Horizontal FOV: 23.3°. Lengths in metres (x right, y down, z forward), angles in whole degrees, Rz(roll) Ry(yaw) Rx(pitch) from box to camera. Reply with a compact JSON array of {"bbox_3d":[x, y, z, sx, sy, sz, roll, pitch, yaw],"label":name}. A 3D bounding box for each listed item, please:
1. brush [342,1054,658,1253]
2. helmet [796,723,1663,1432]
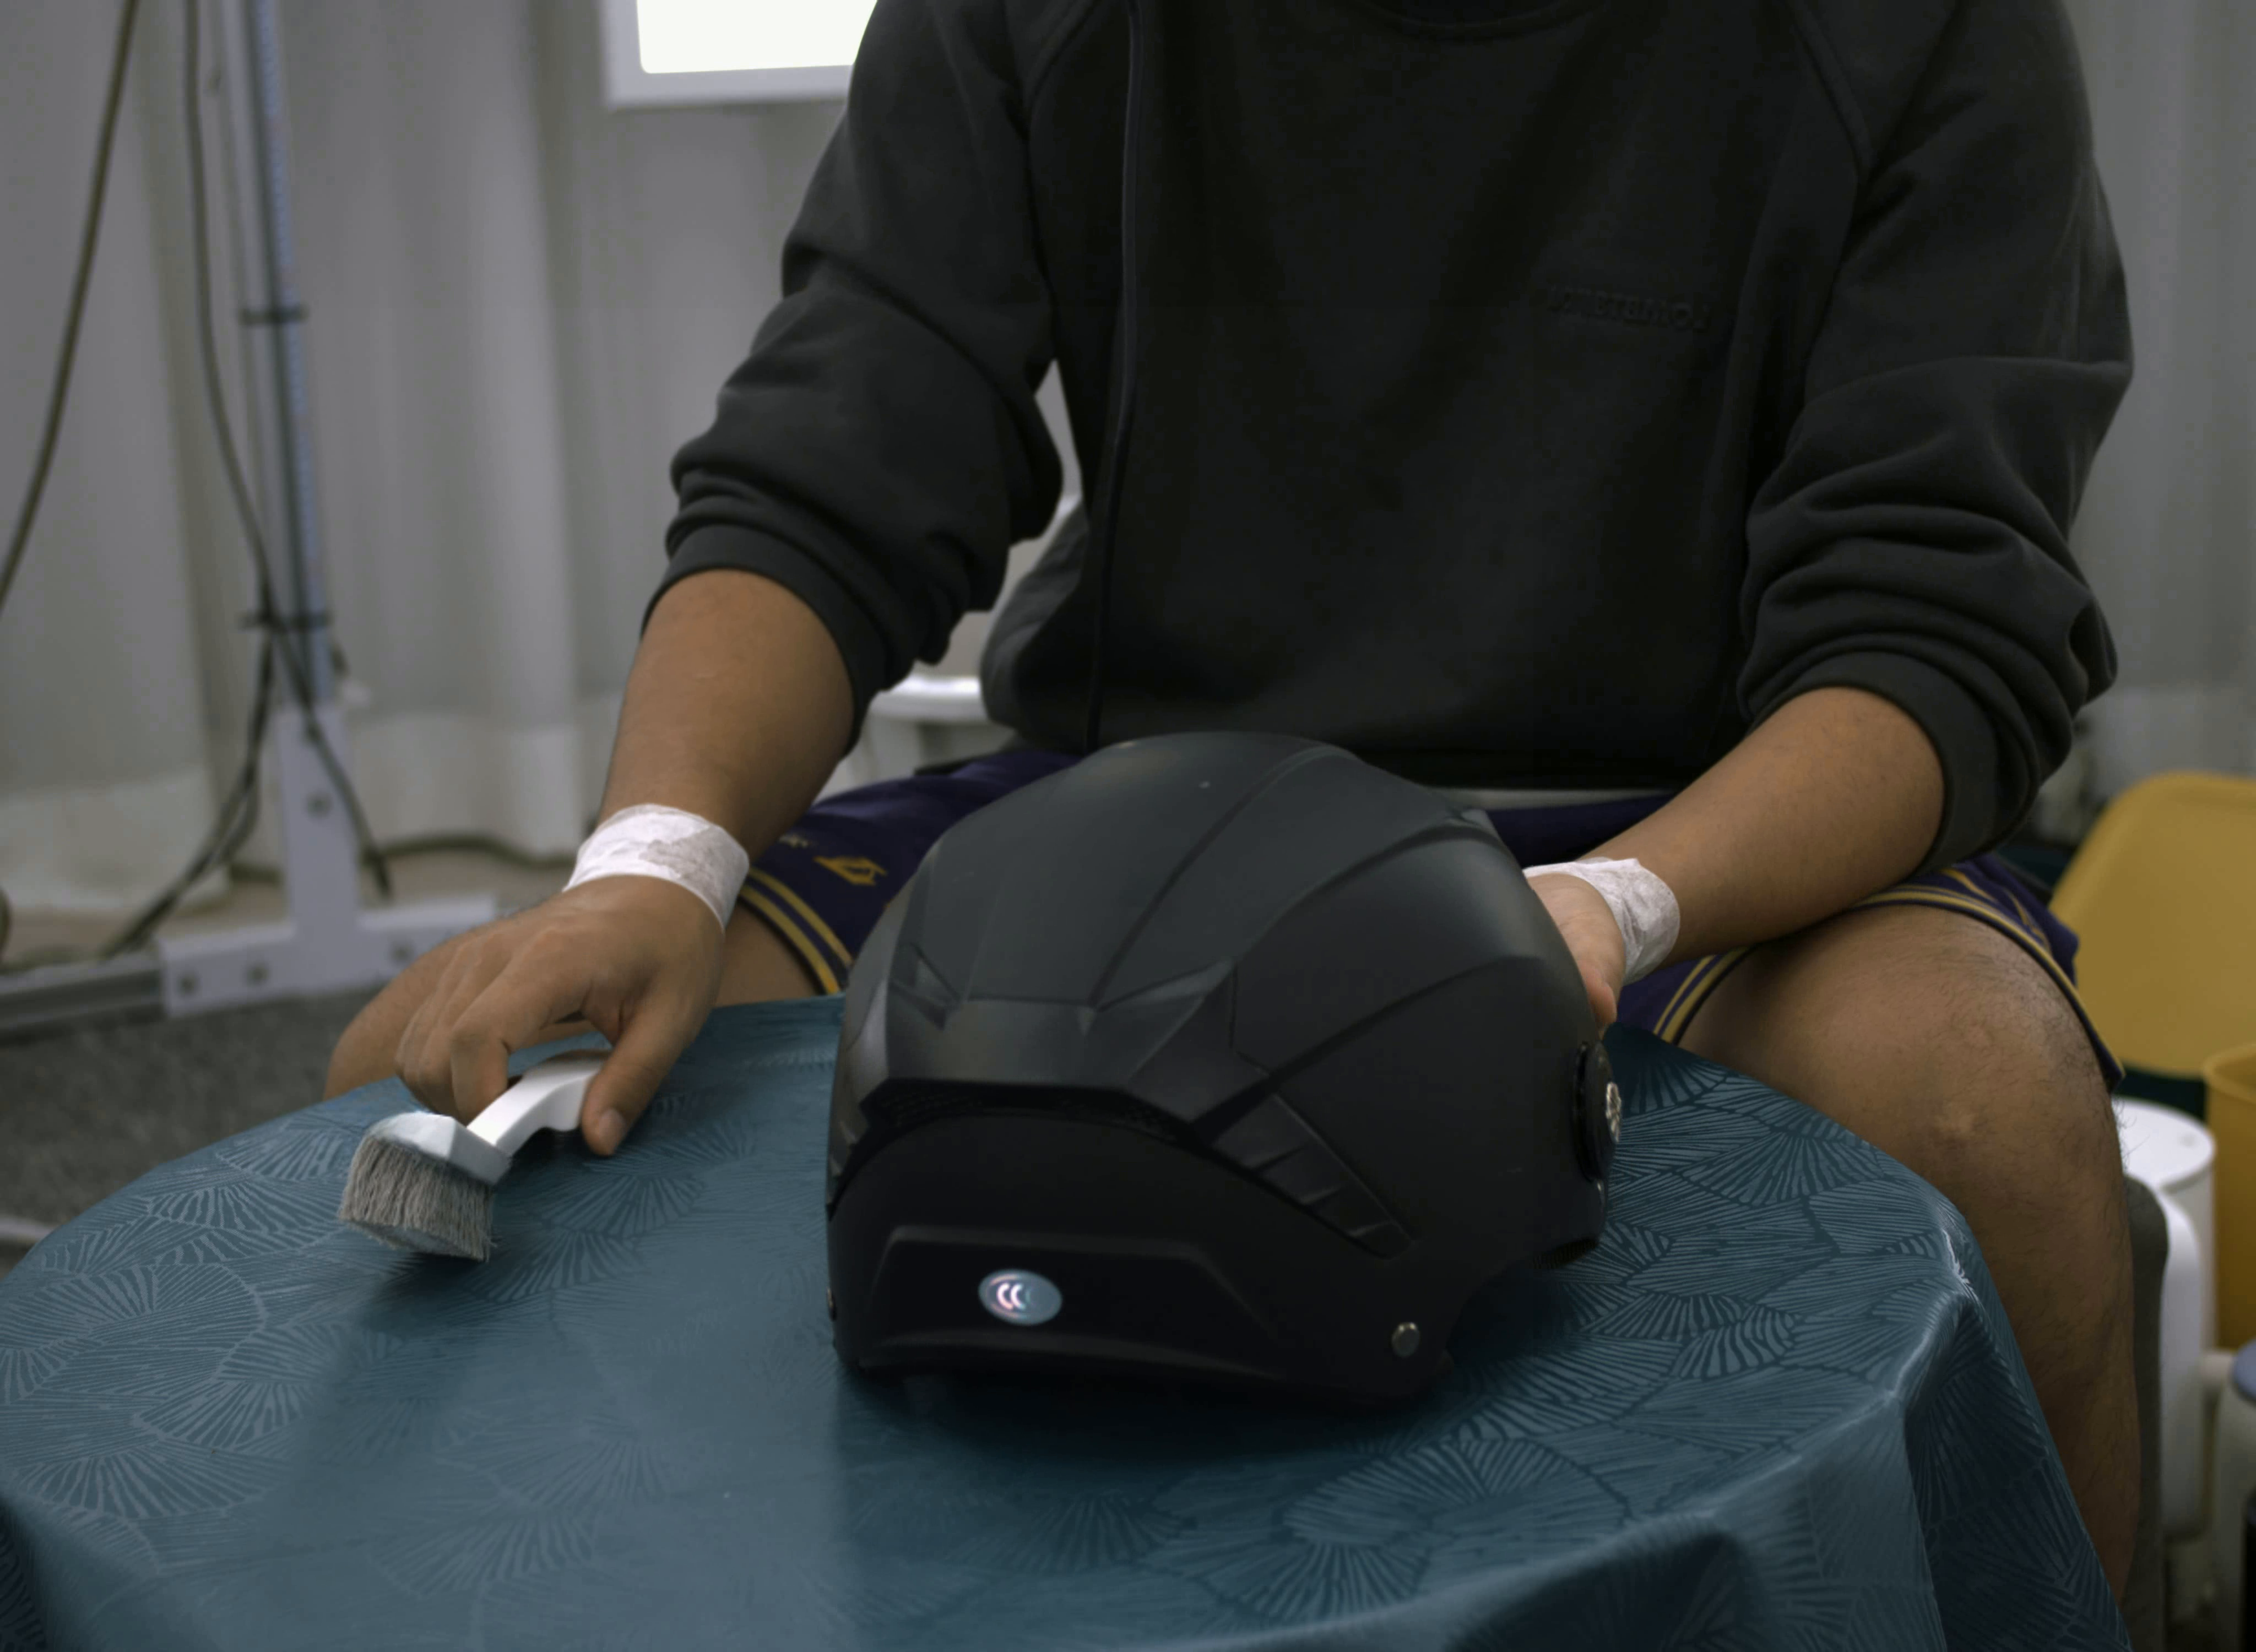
[{"bbox_3d":[-0.196,0.105,1.751,0.034,0.050,0.243,6,3,12],"label":"brush"},{"bbox_3d":[0.025,0.058,1.585,0.247,0.171,0.278,3,25,25],"label":"helmet"}]
